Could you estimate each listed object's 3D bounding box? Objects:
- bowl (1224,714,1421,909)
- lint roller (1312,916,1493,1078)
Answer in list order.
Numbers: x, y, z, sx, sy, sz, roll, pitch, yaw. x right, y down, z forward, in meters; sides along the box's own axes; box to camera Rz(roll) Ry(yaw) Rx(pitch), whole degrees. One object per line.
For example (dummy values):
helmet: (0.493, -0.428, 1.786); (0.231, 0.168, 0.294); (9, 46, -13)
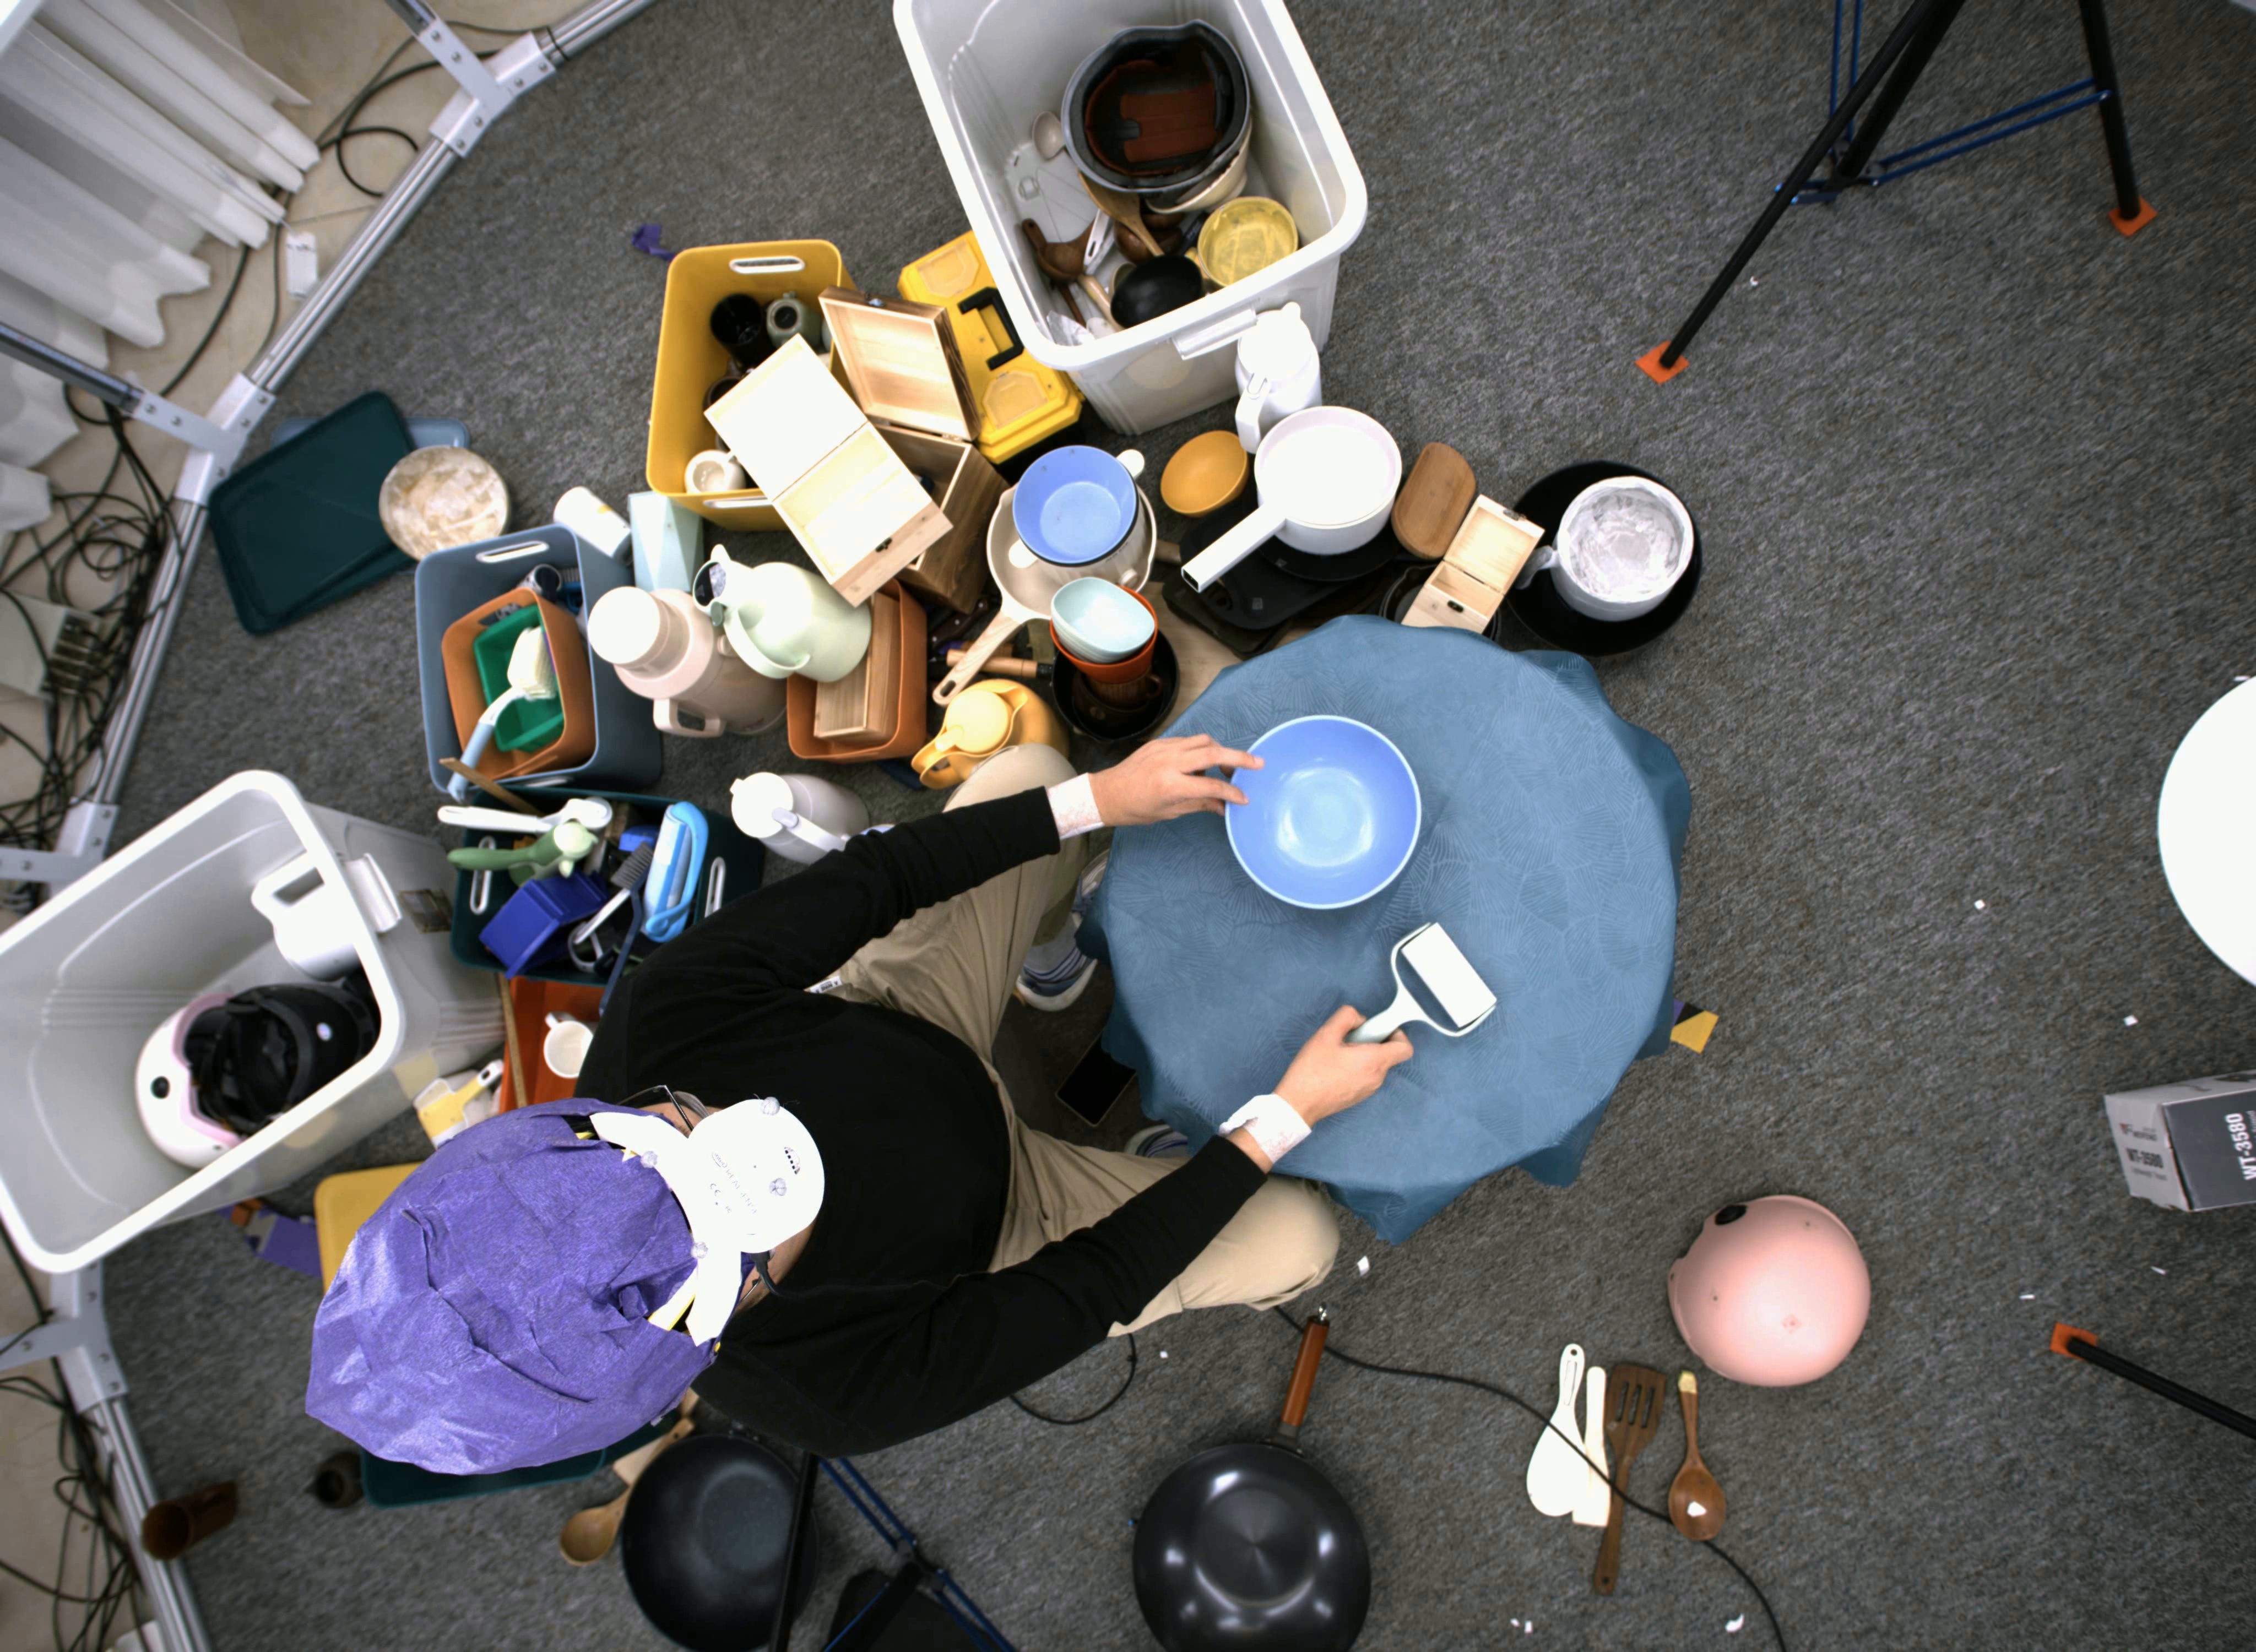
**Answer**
bowl: (0.201, -0.012, 1.429); (0.197, 0.095, 0.196); (-1, 87, 10)
lint roller: (0.267, 0.189, 1.422); (0.198, 0.048, 0.116); (-38, 82, 1)
